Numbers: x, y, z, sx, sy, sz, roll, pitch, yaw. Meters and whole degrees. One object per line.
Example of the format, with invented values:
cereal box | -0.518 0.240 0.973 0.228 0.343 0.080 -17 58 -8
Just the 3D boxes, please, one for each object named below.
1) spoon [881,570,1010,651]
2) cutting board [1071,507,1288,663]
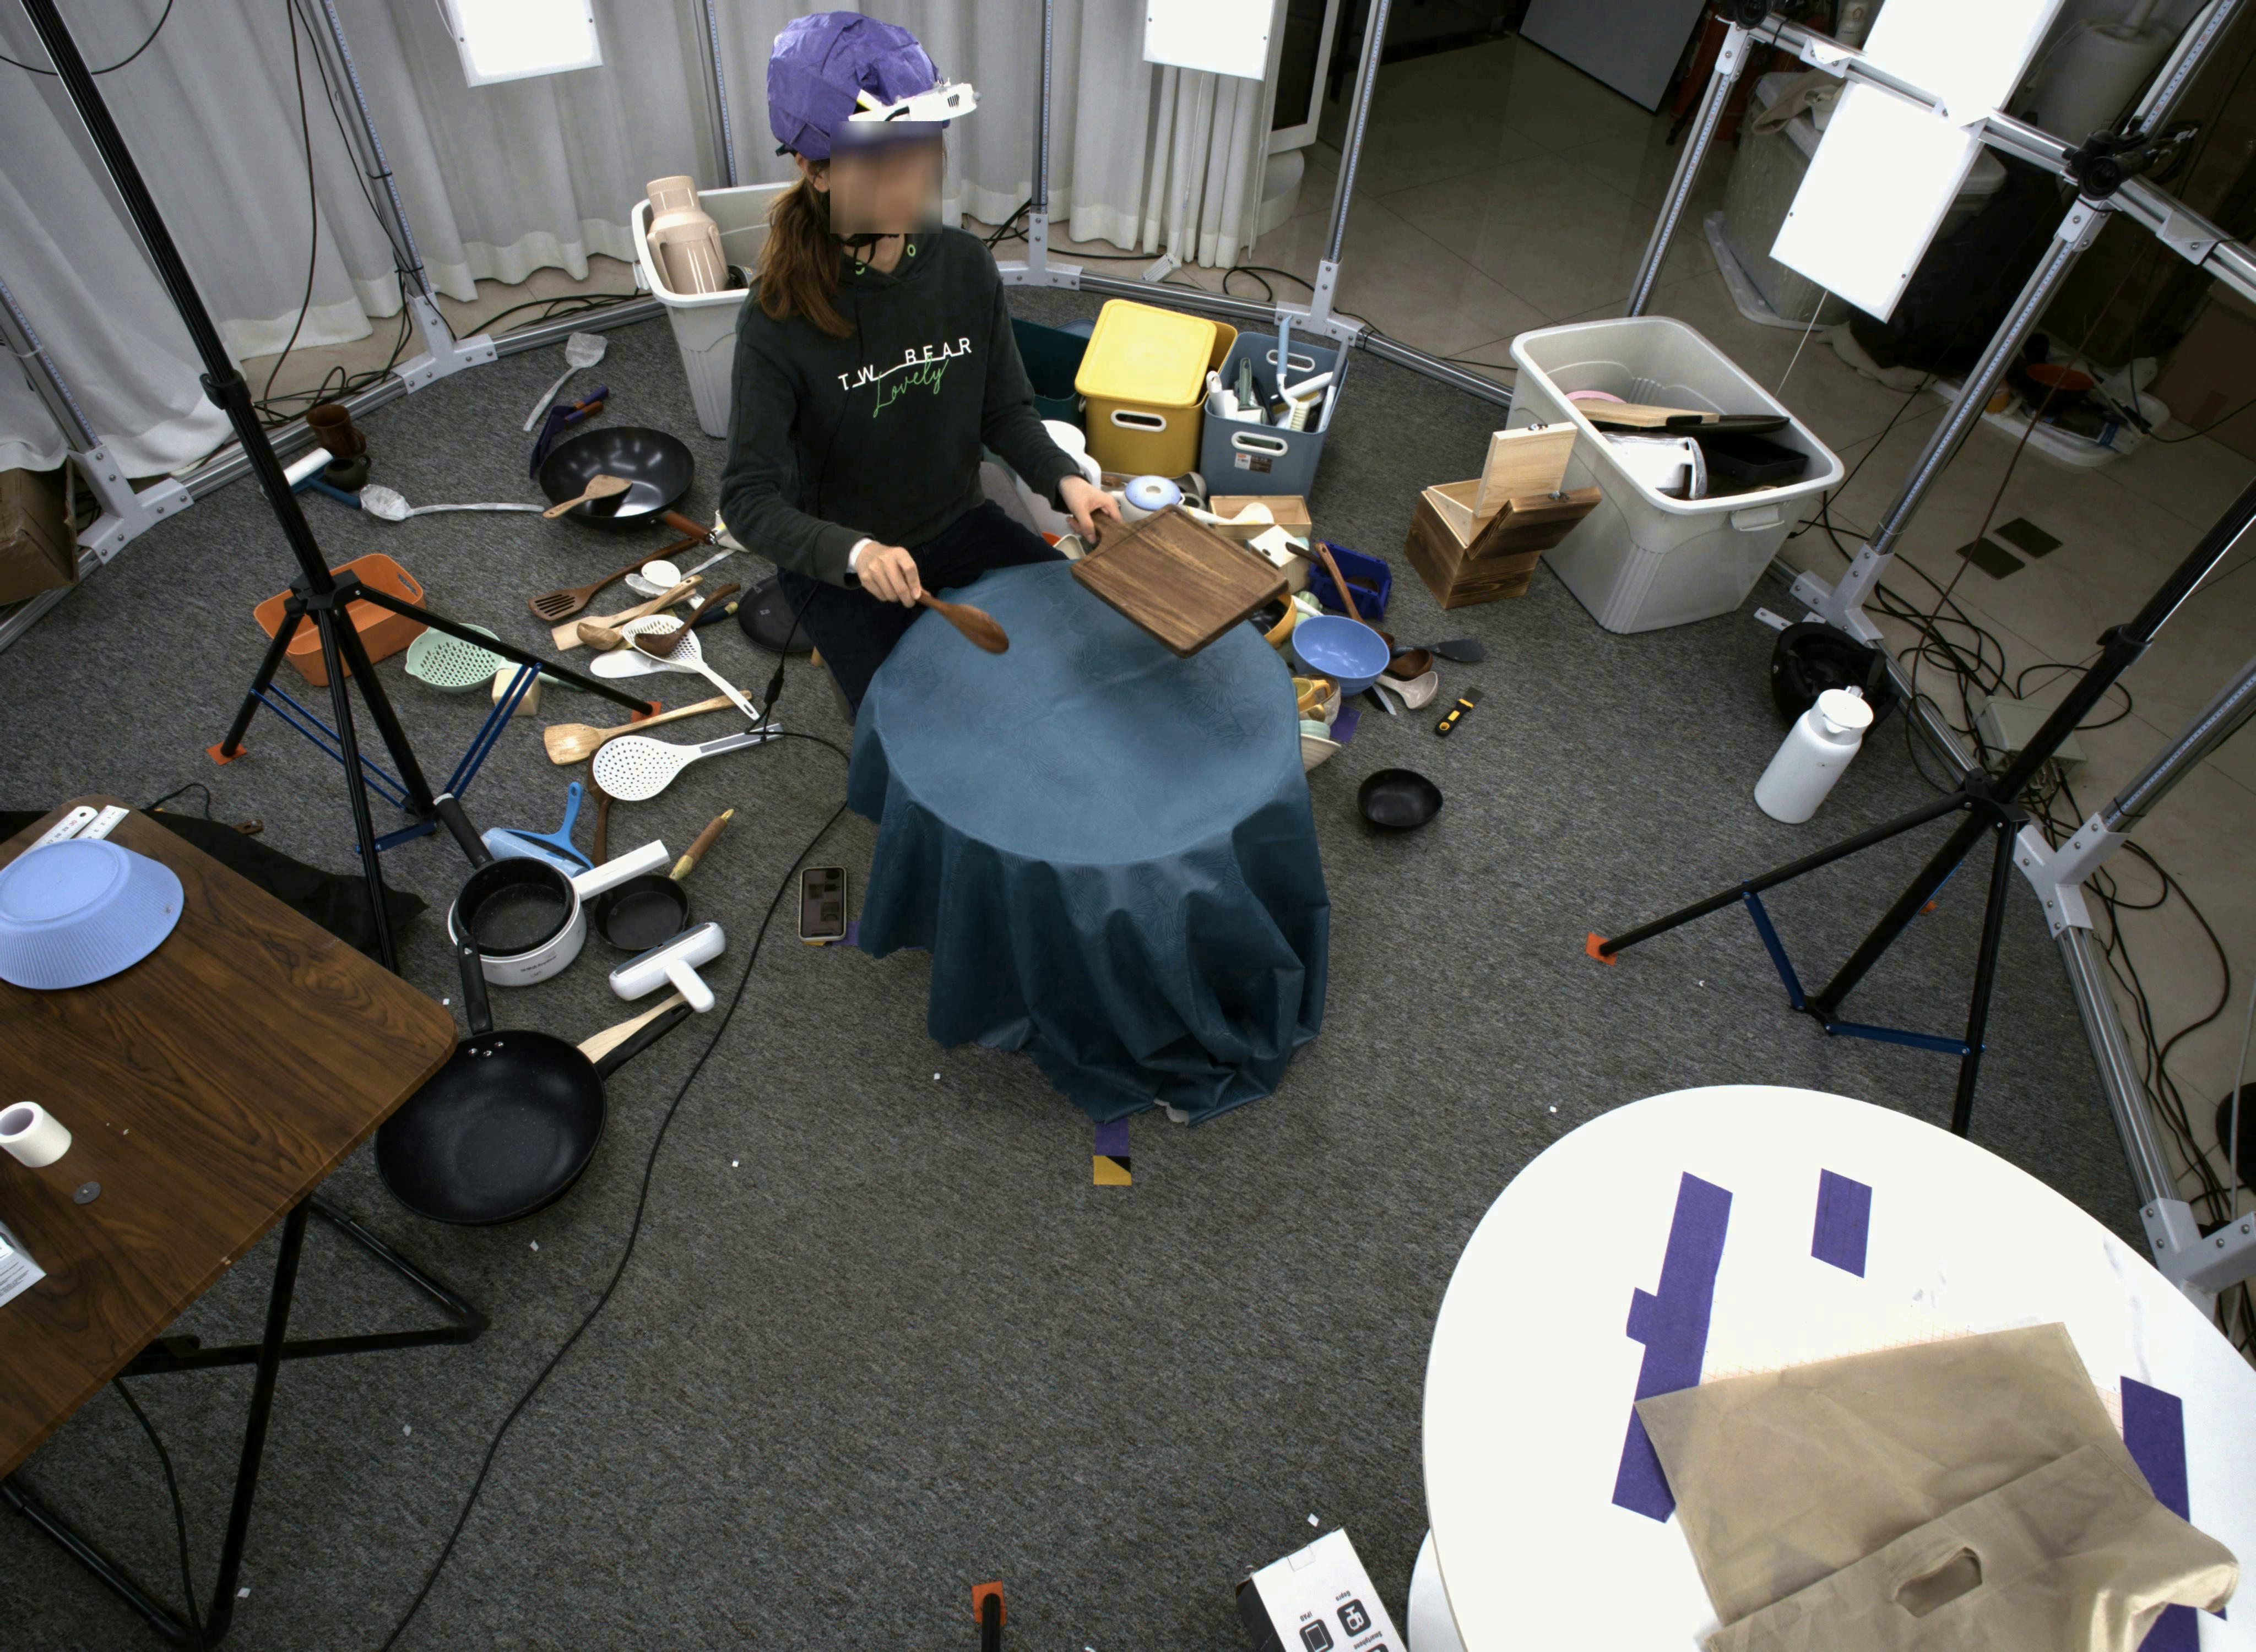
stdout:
spoon | -0.239 -0.280 1.666 0.218 0.074 0.017 31 71 25
cutting board | 0.039 -0.372 1.833 0.202 0.022 0.358 -36 54 -19
